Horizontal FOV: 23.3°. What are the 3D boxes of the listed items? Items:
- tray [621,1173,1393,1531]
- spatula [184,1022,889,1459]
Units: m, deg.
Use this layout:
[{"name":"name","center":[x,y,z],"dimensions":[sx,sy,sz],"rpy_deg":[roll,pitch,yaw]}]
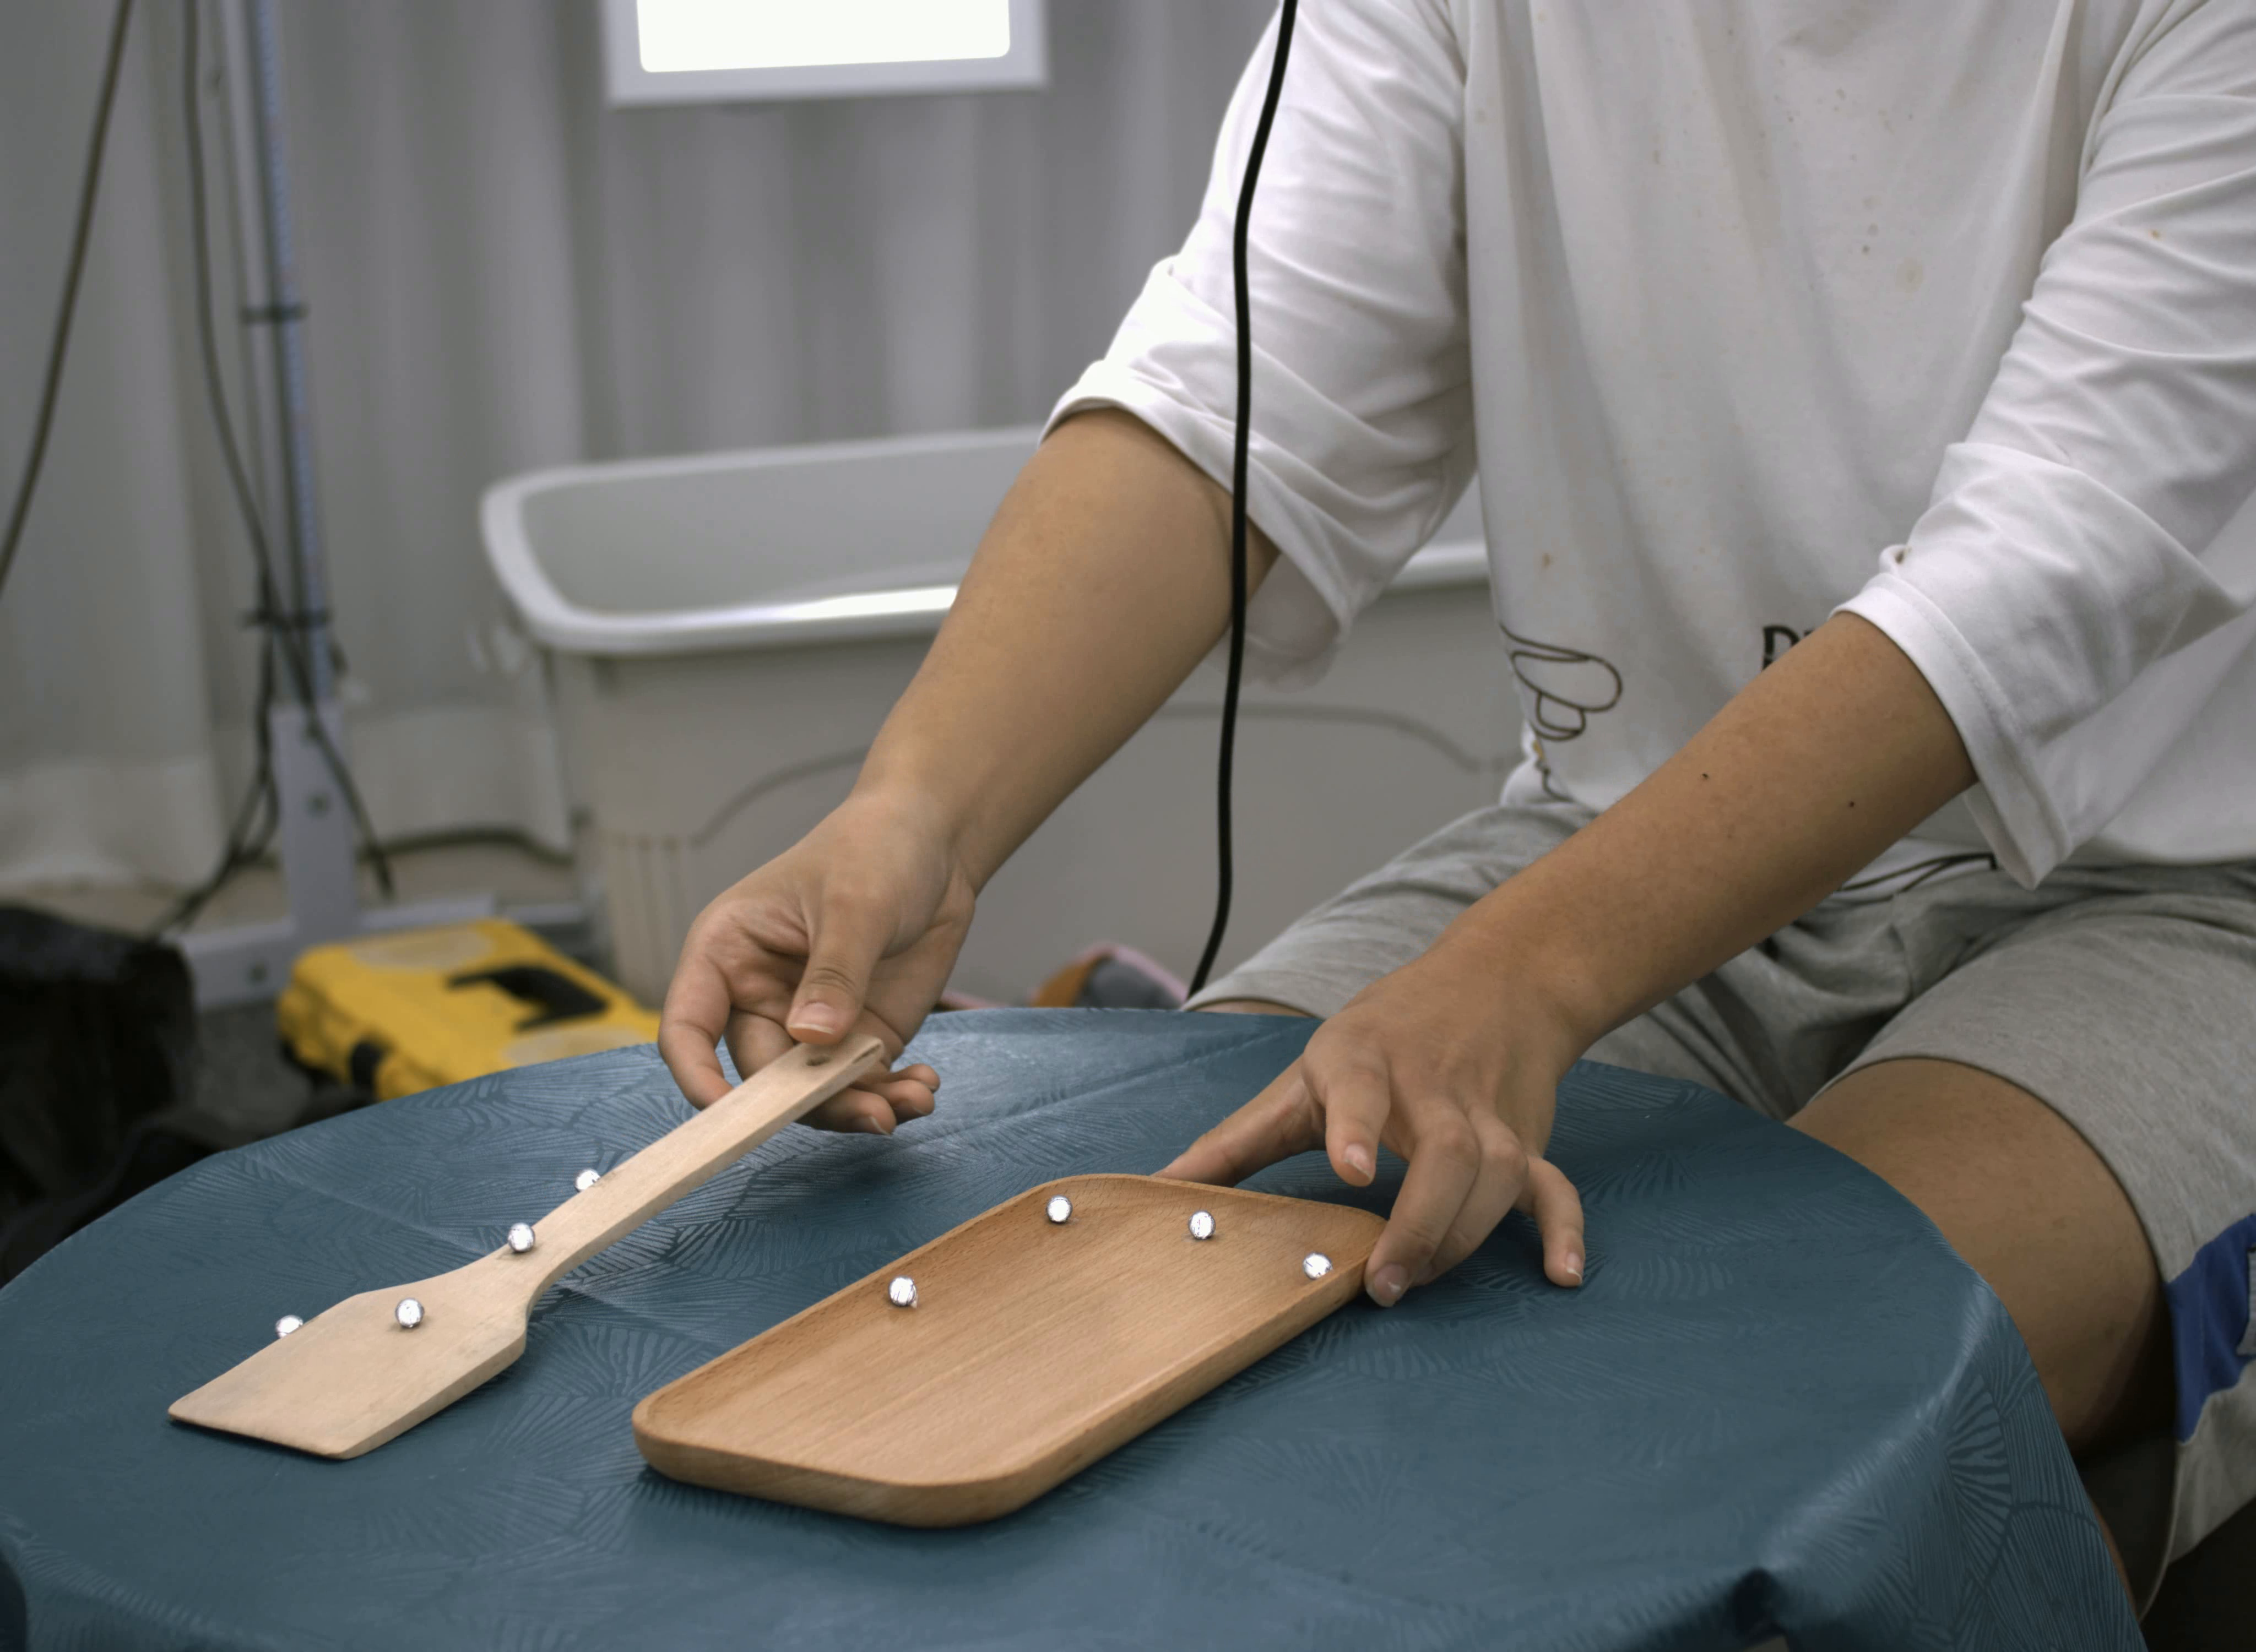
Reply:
[{"name":"tray","center":[-0.030,0.148,1.567],"dimensions":[0.131,0.023,0.251],"rpy_deg":[4,17,33]},{"name":"spatula","center":[-0.165,0.120,1.649],"dimensions":[0.072,0.010,0.294],"rpy_deg":[7,26,33]}]
